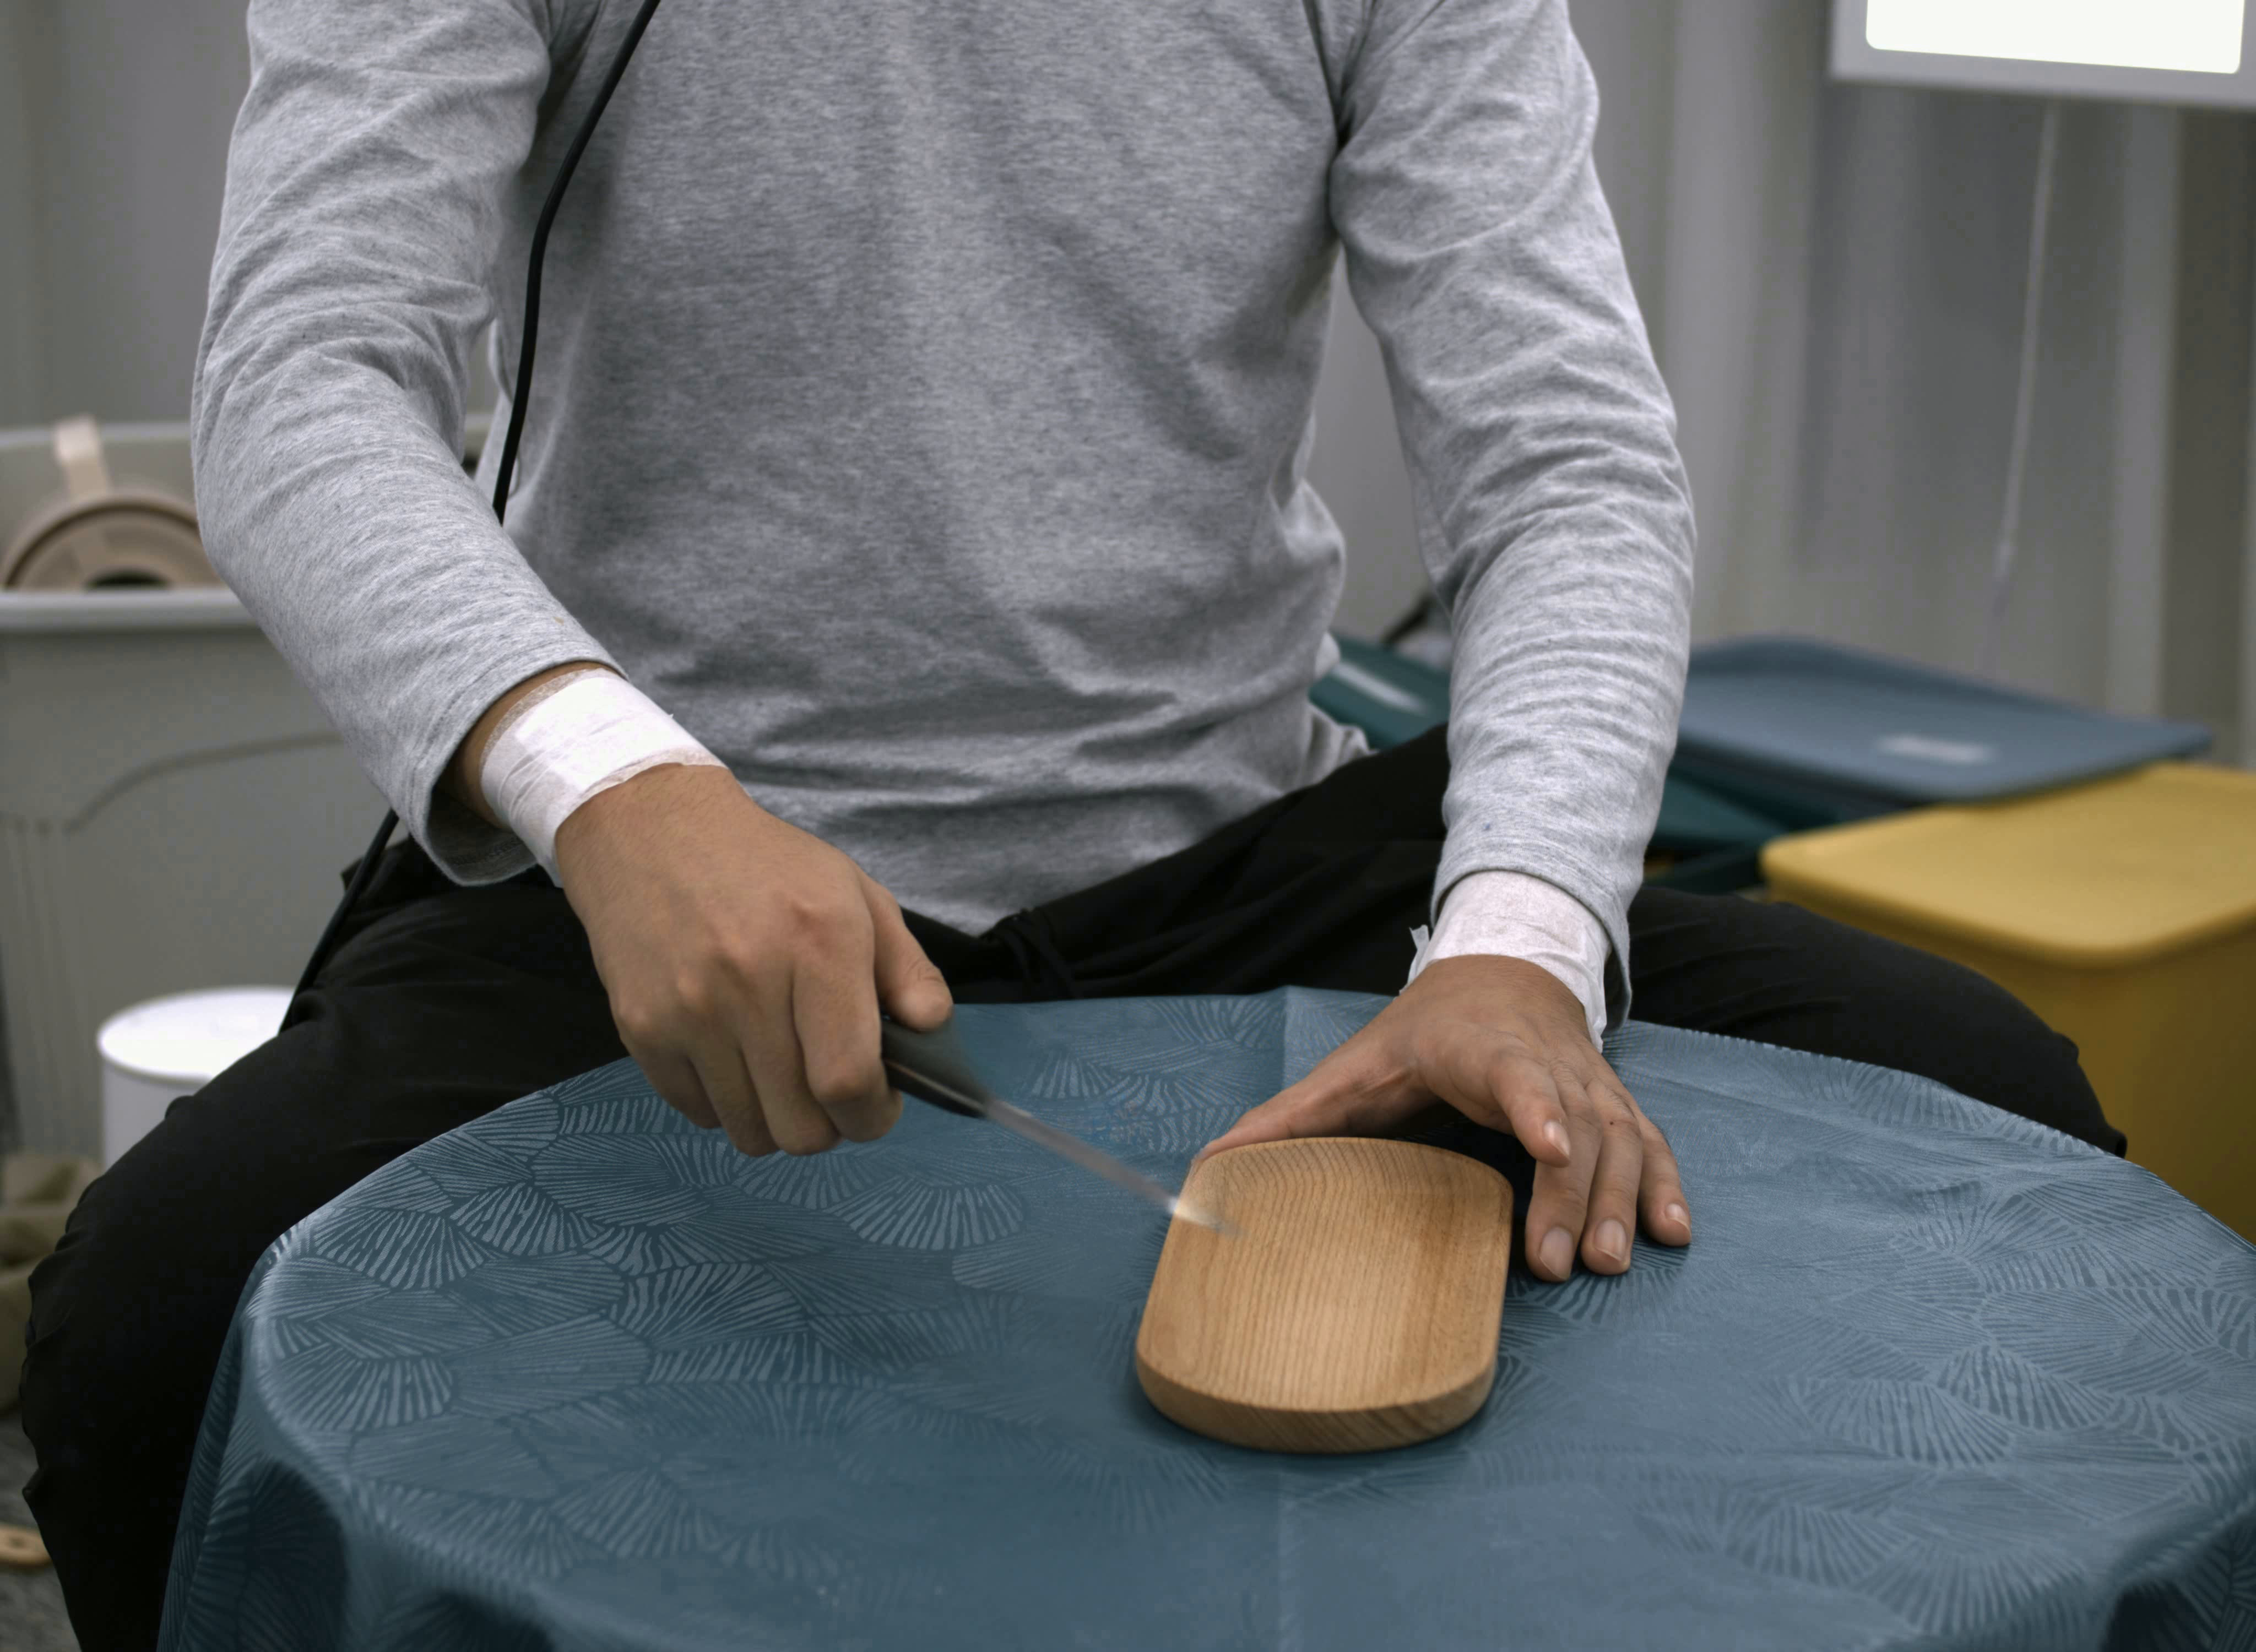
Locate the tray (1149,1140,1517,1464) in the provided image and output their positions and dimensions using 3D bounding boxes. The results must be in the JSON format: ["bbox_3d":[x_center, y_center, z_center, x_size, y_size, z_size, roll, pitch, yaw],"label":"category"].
[{"bbox_3d":[0.061,0.134,1.519,0.101,0.020,0.230,0,17,4],"label":"tray"}]

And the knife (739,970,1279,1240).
[{"bbox_3d":[-0.038,0.078,1.471,0.025,0.016,0.235,17,4,-44],"label":"knife"}]
